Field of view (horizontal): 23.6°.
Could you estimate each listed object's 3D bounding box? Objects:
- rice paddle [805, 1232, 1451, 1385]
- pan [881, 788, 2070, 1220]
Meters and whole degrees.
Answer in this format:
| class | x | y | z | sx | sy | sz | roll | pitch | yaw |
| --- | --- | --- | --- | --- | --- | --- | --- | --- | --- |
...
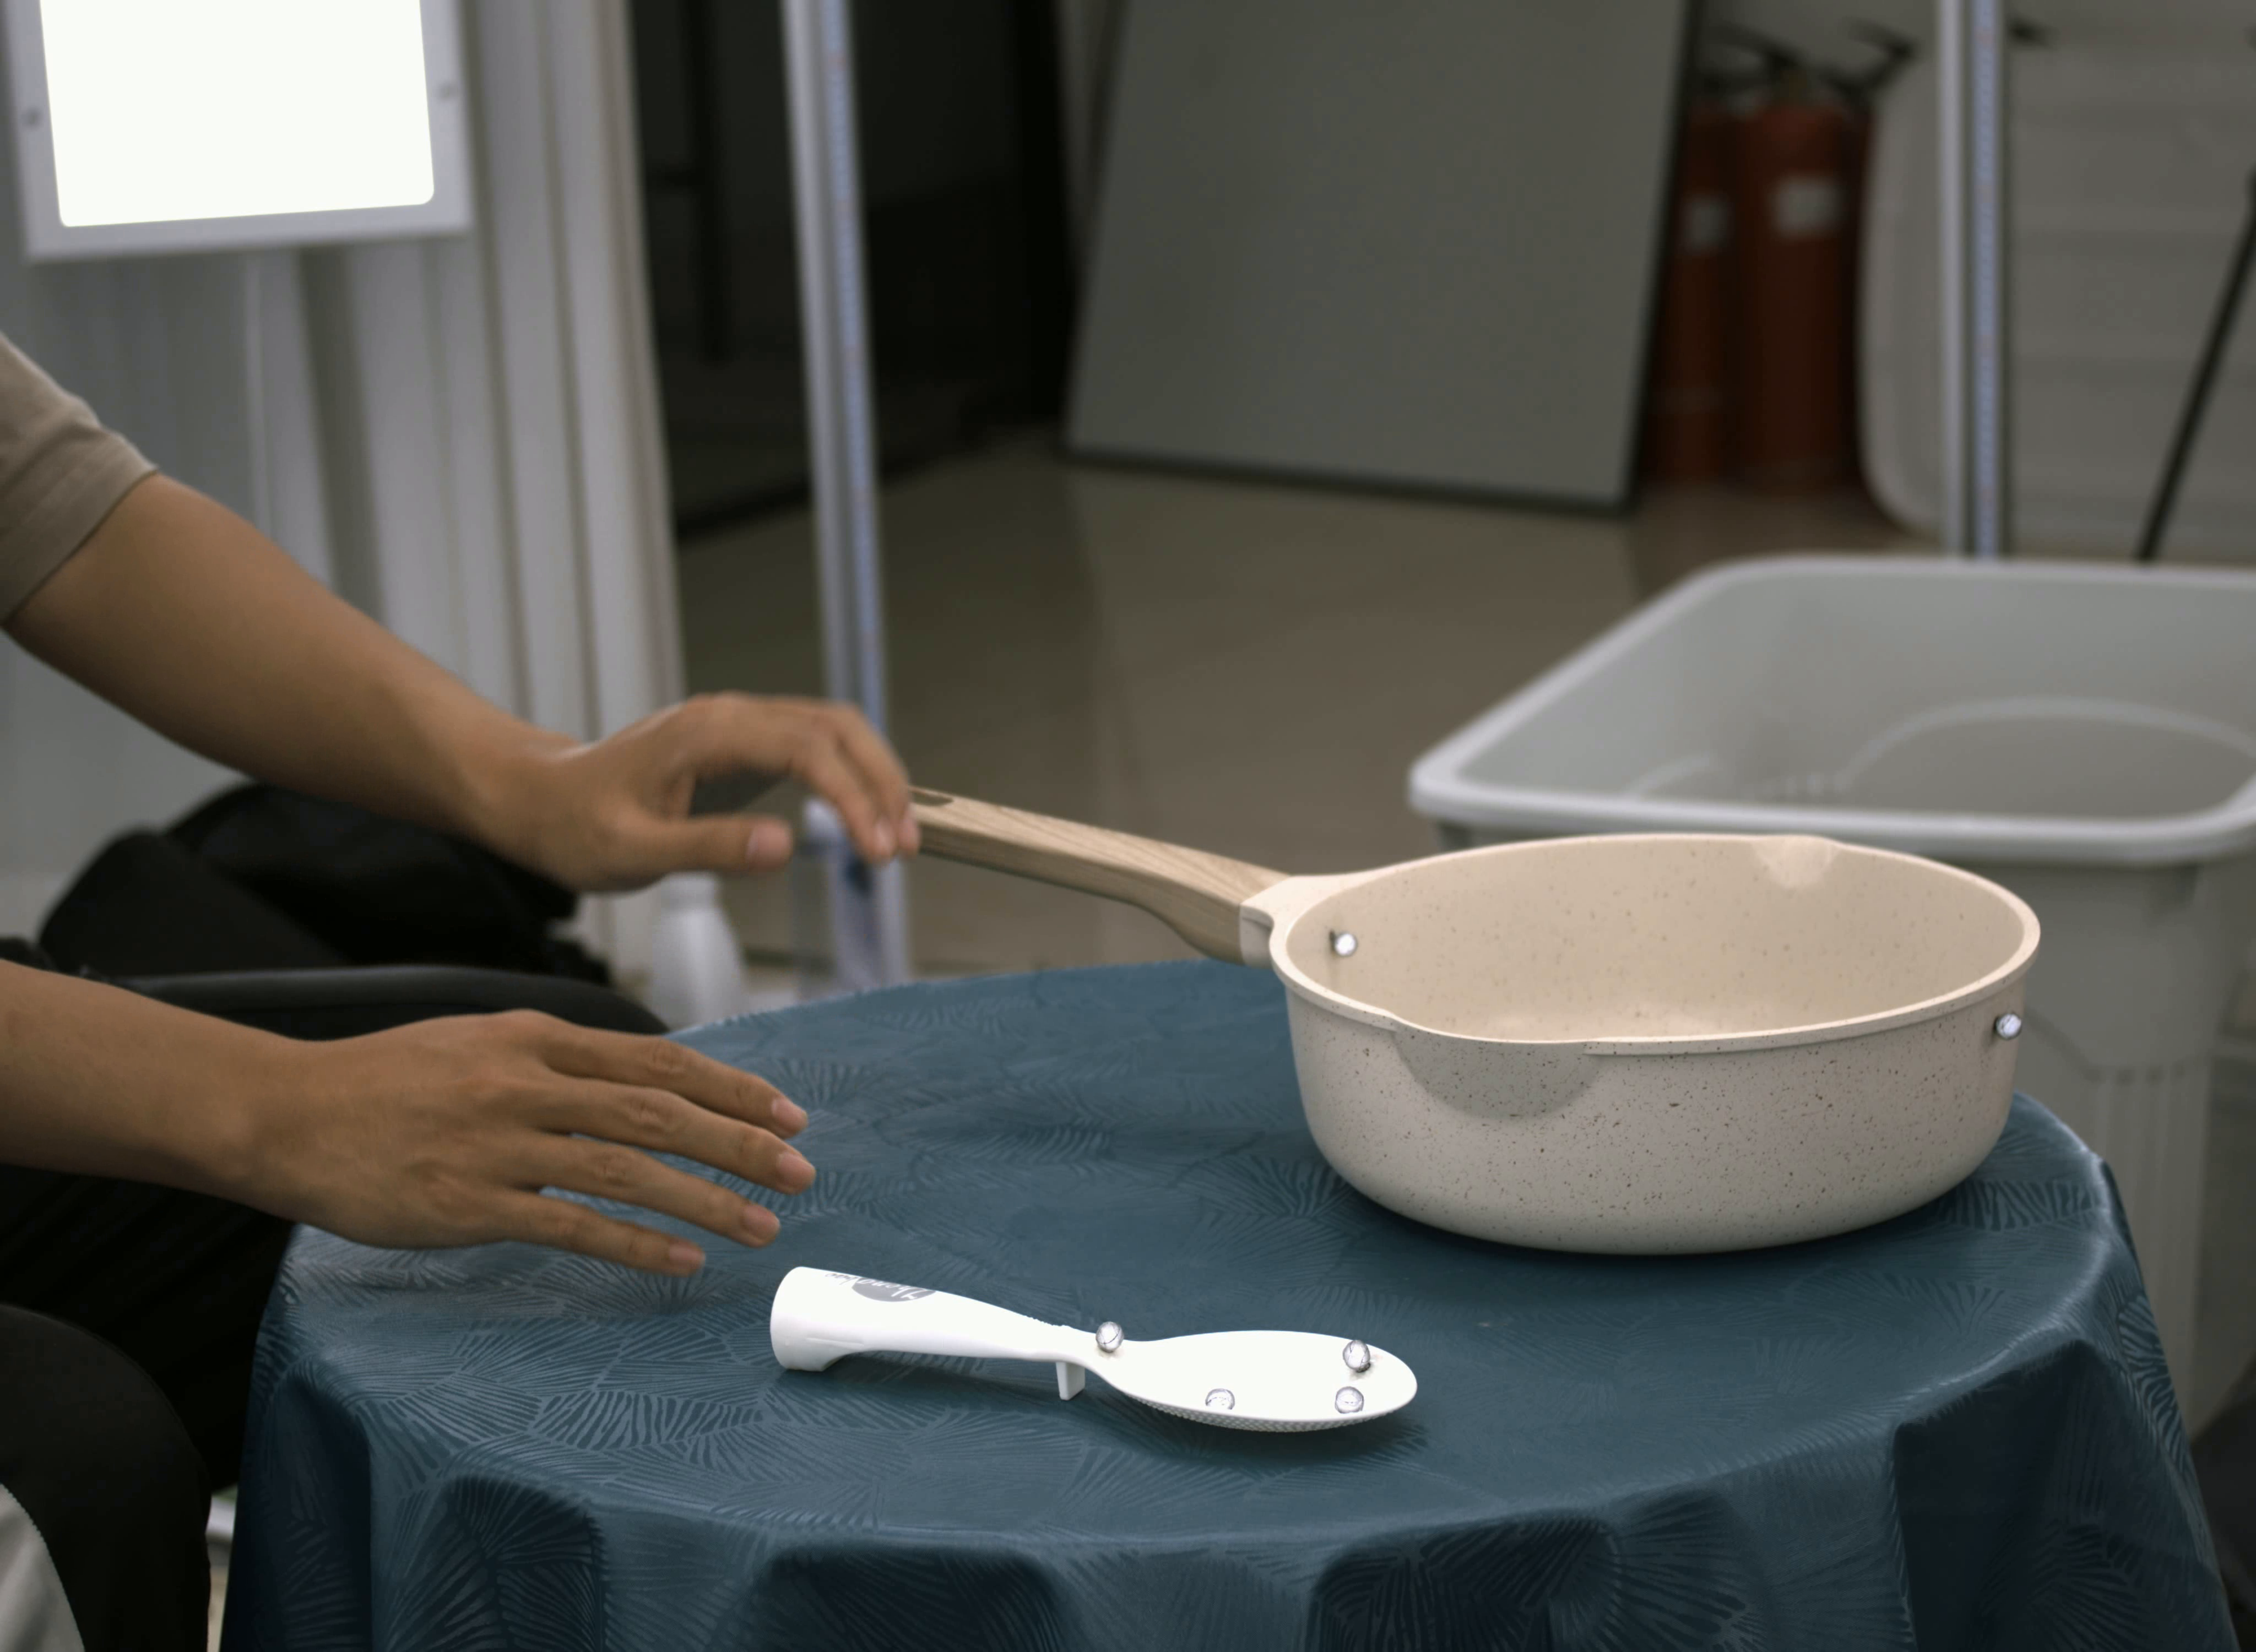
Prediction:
| class | x | y | z | sx | sy | sz | roll | pitch | yaw |
| --- | --- | --- | --- | --- | --- | --- | --- | --- | --- |
| rice paddle | 0.000 | 0.142 | 1.591 | 0.205 | 0.030 | 0.068 | 3 | 17 | 27 |
| pan | 0.107 | 0.048 | 1.821 | 0.437 | 0.103 | 0.259 | 4 | 17 | 31 |
